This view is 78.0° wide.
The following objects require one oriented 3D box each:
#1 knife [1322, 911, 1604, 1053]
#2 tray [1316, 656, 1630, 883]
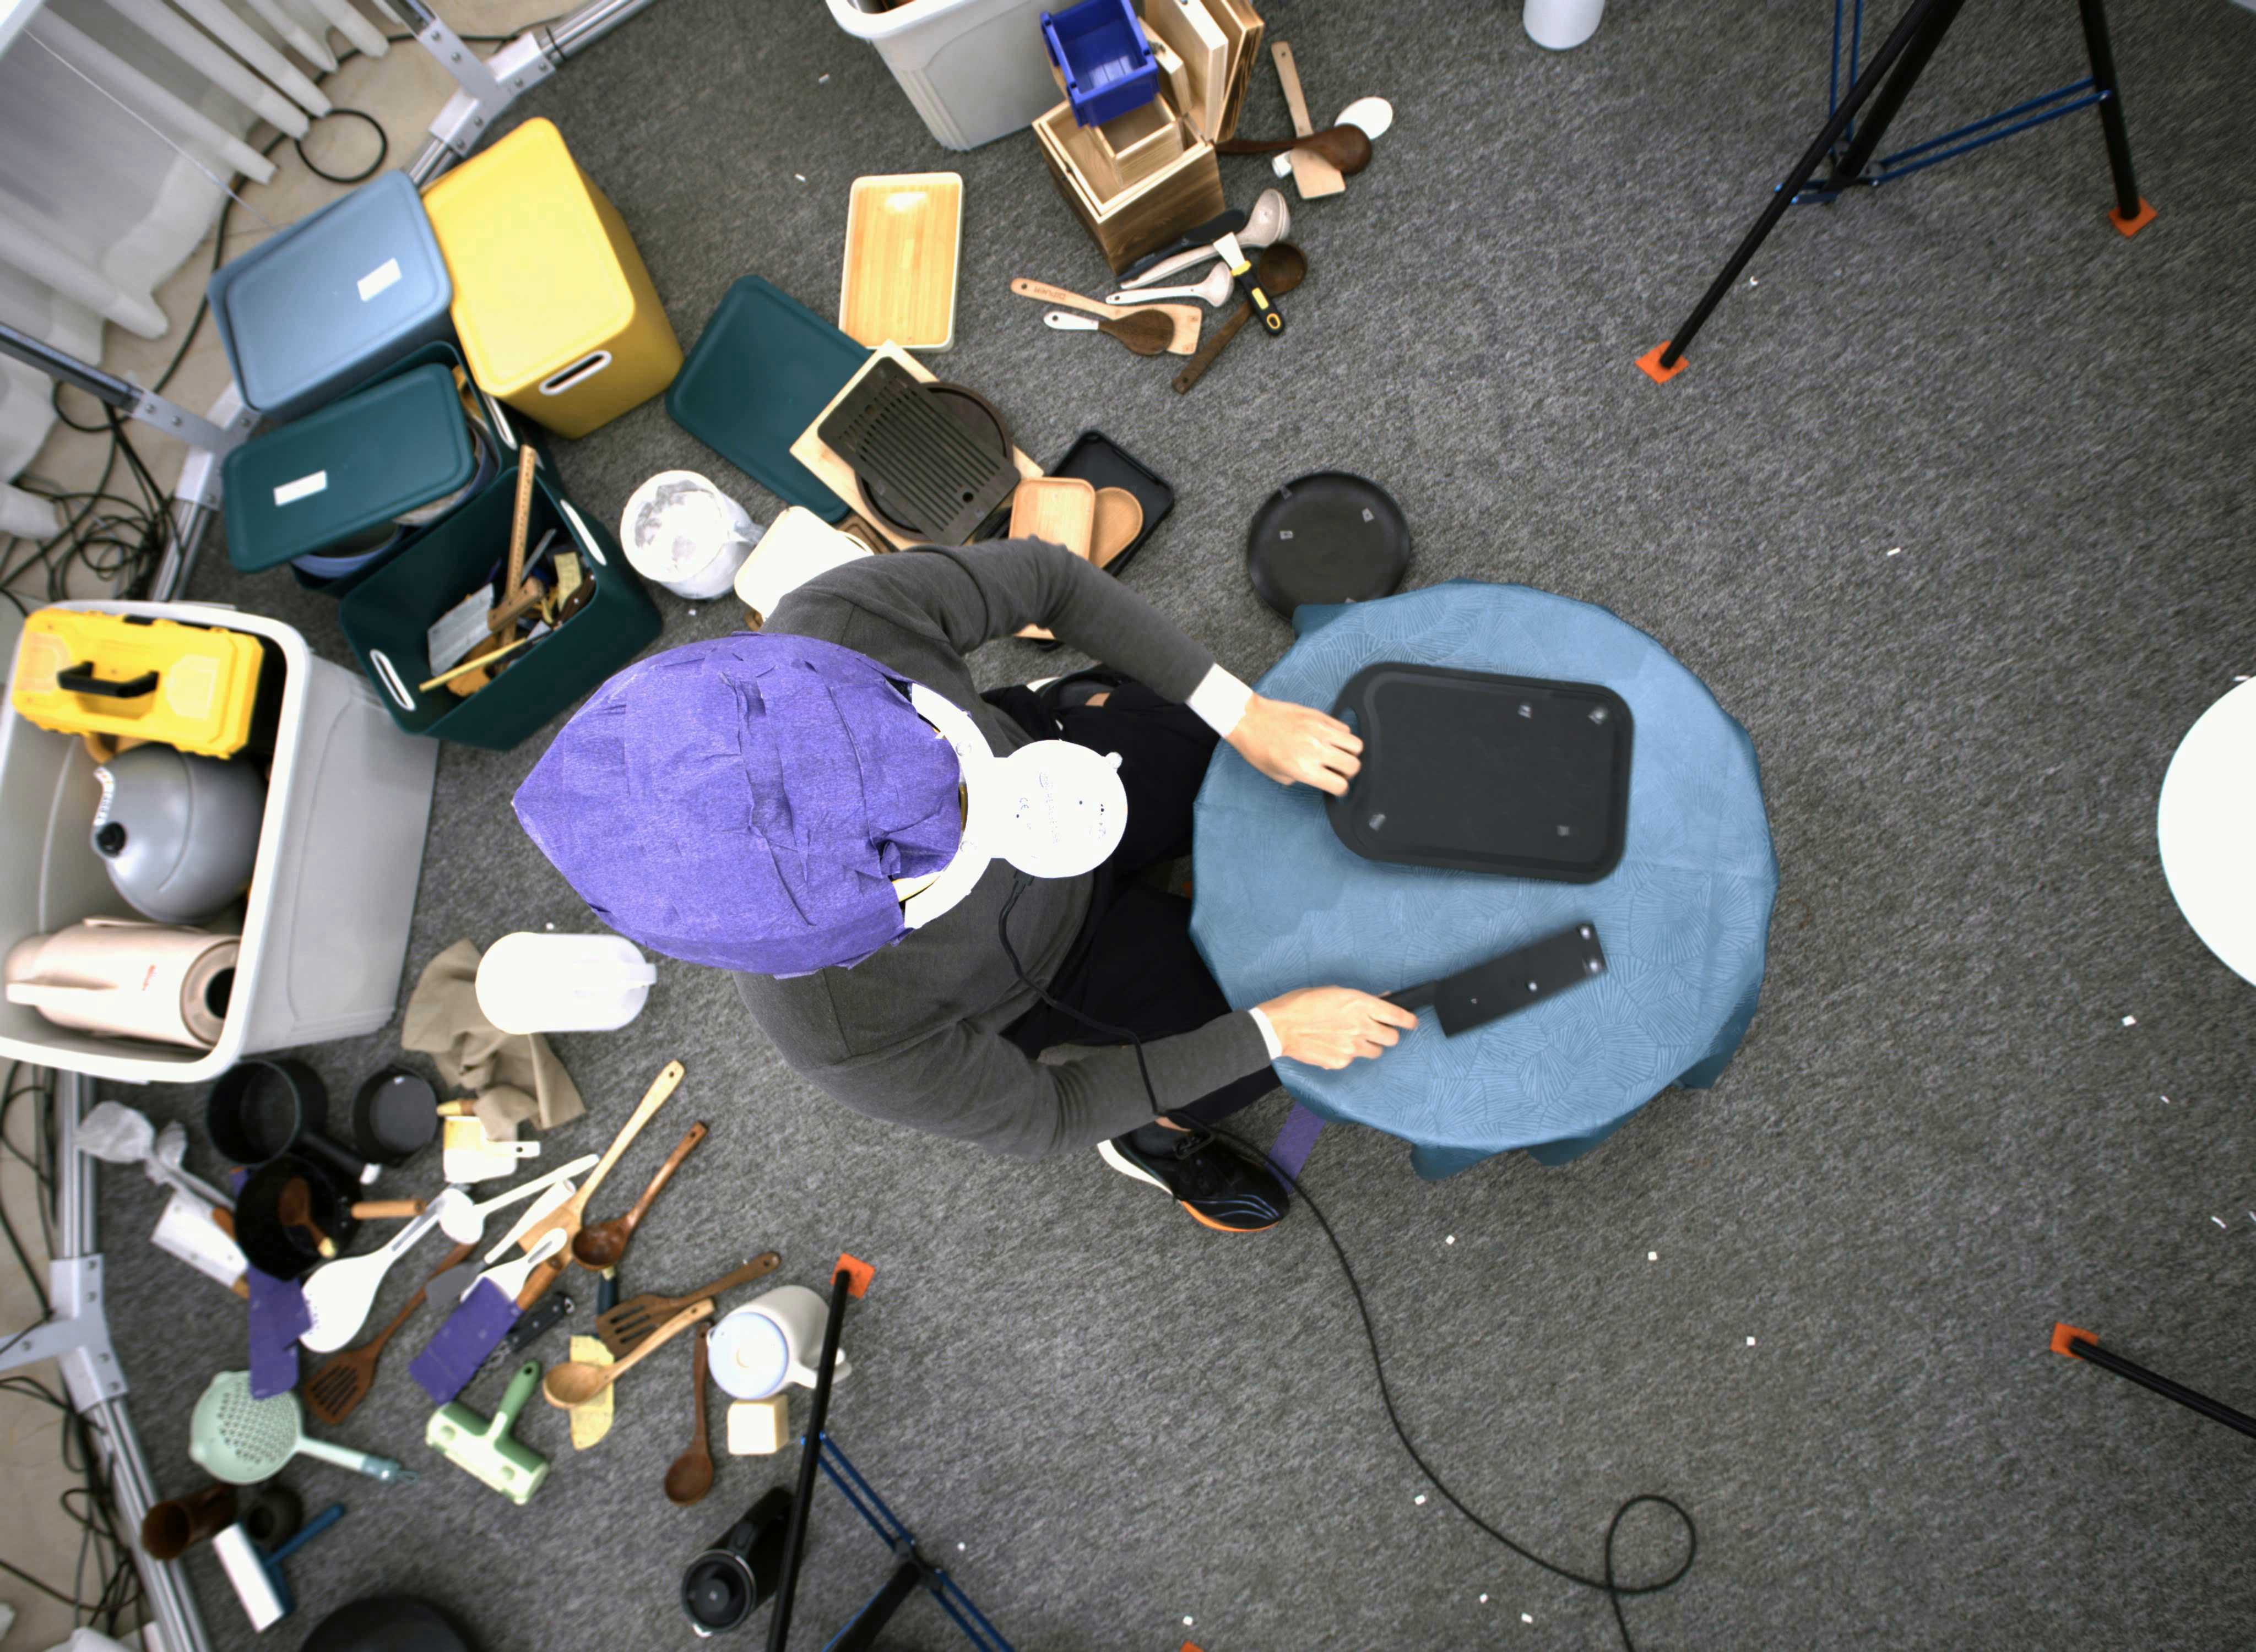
[{"bbox_3d":[0.339,0.168,1.410,0.303,0.020,0.082,-20,107,5],"label":"knife"},{"bbox_3d":[0.355,-0.062,1.416,0.326,0.010,0.210,7,87,-1],"label":"tray"}]
